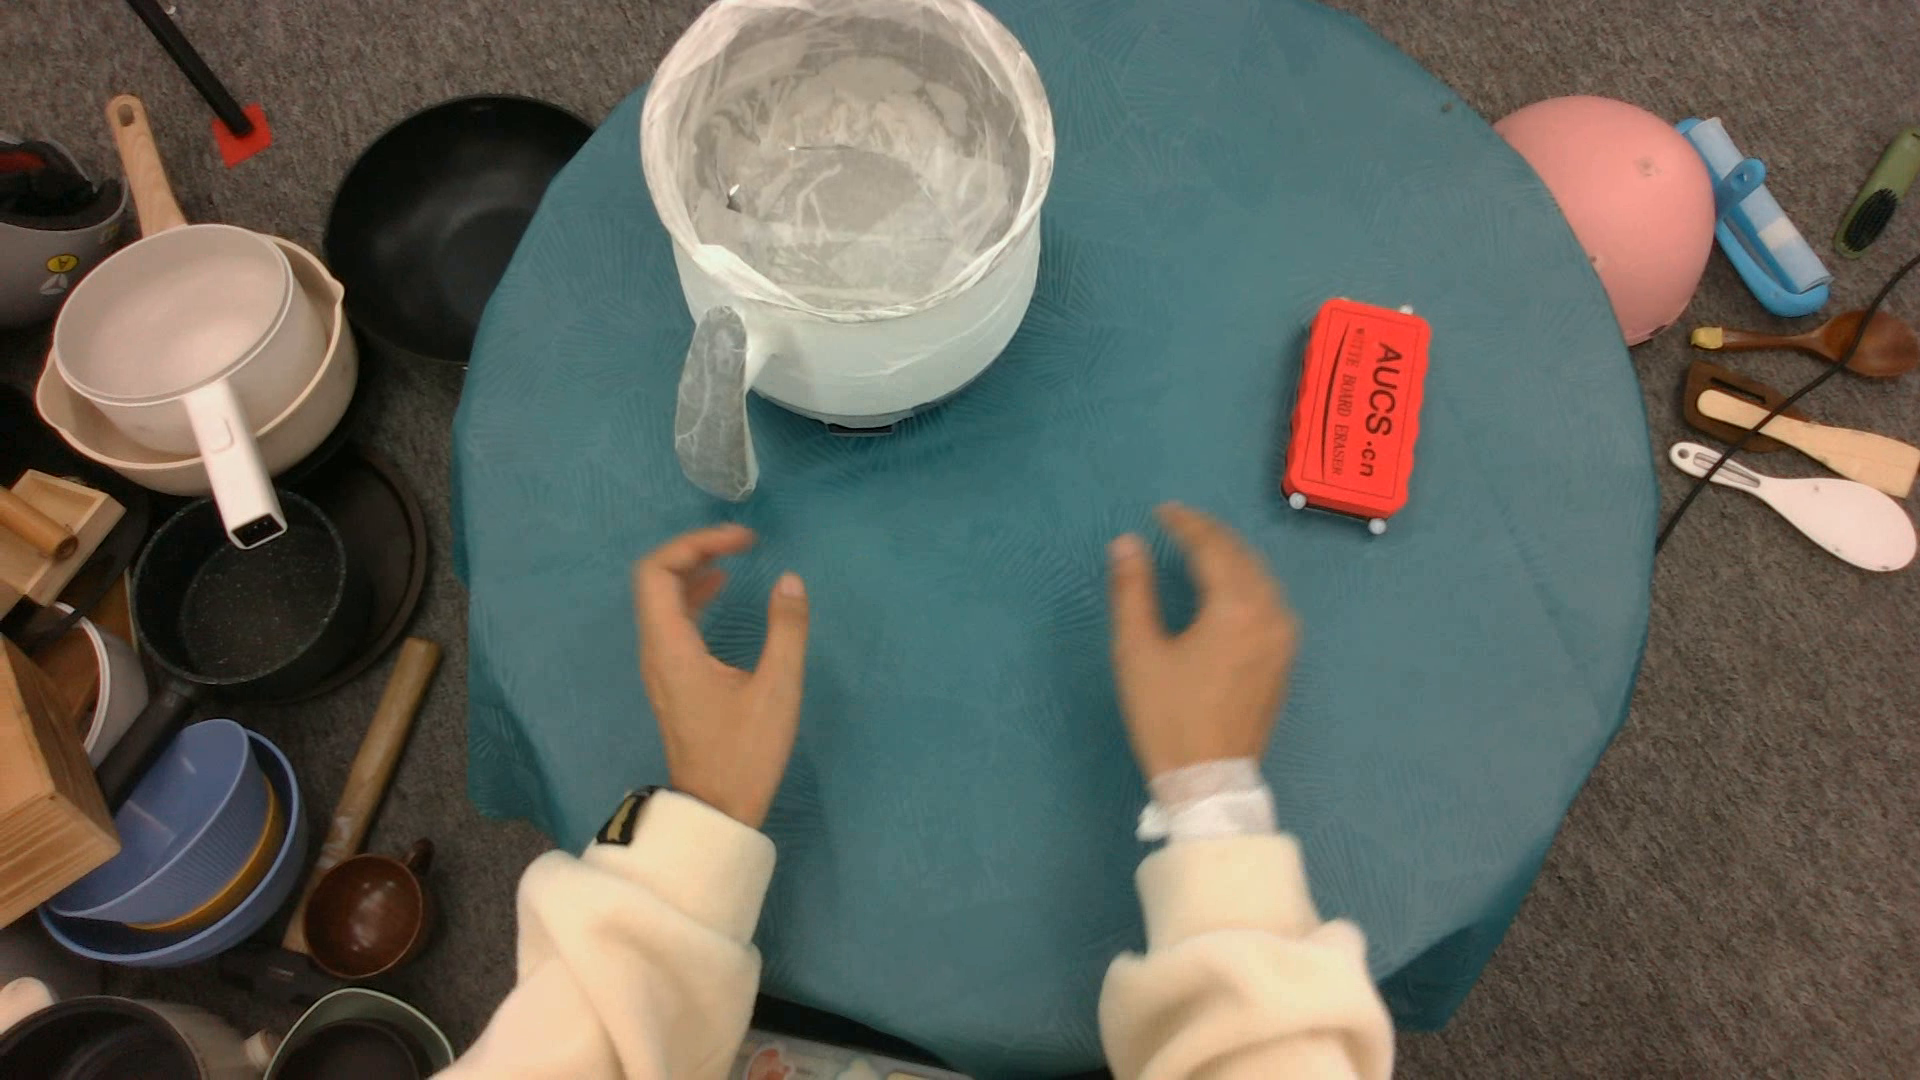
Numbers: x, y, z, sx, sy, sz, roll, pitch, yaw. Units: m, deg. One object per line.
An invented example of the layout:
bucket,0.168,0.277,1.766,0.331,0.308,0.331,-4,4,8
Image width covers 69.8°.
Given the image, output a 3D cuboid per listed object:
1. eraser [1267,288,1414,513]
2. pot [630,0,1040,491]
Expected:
eraser,0.191,-0.070,0.690,0.059,0.023,0.108,13,73,2
pot,-0.069,-0.135,0.643,0.179,0.136,0.234,27,71,6
